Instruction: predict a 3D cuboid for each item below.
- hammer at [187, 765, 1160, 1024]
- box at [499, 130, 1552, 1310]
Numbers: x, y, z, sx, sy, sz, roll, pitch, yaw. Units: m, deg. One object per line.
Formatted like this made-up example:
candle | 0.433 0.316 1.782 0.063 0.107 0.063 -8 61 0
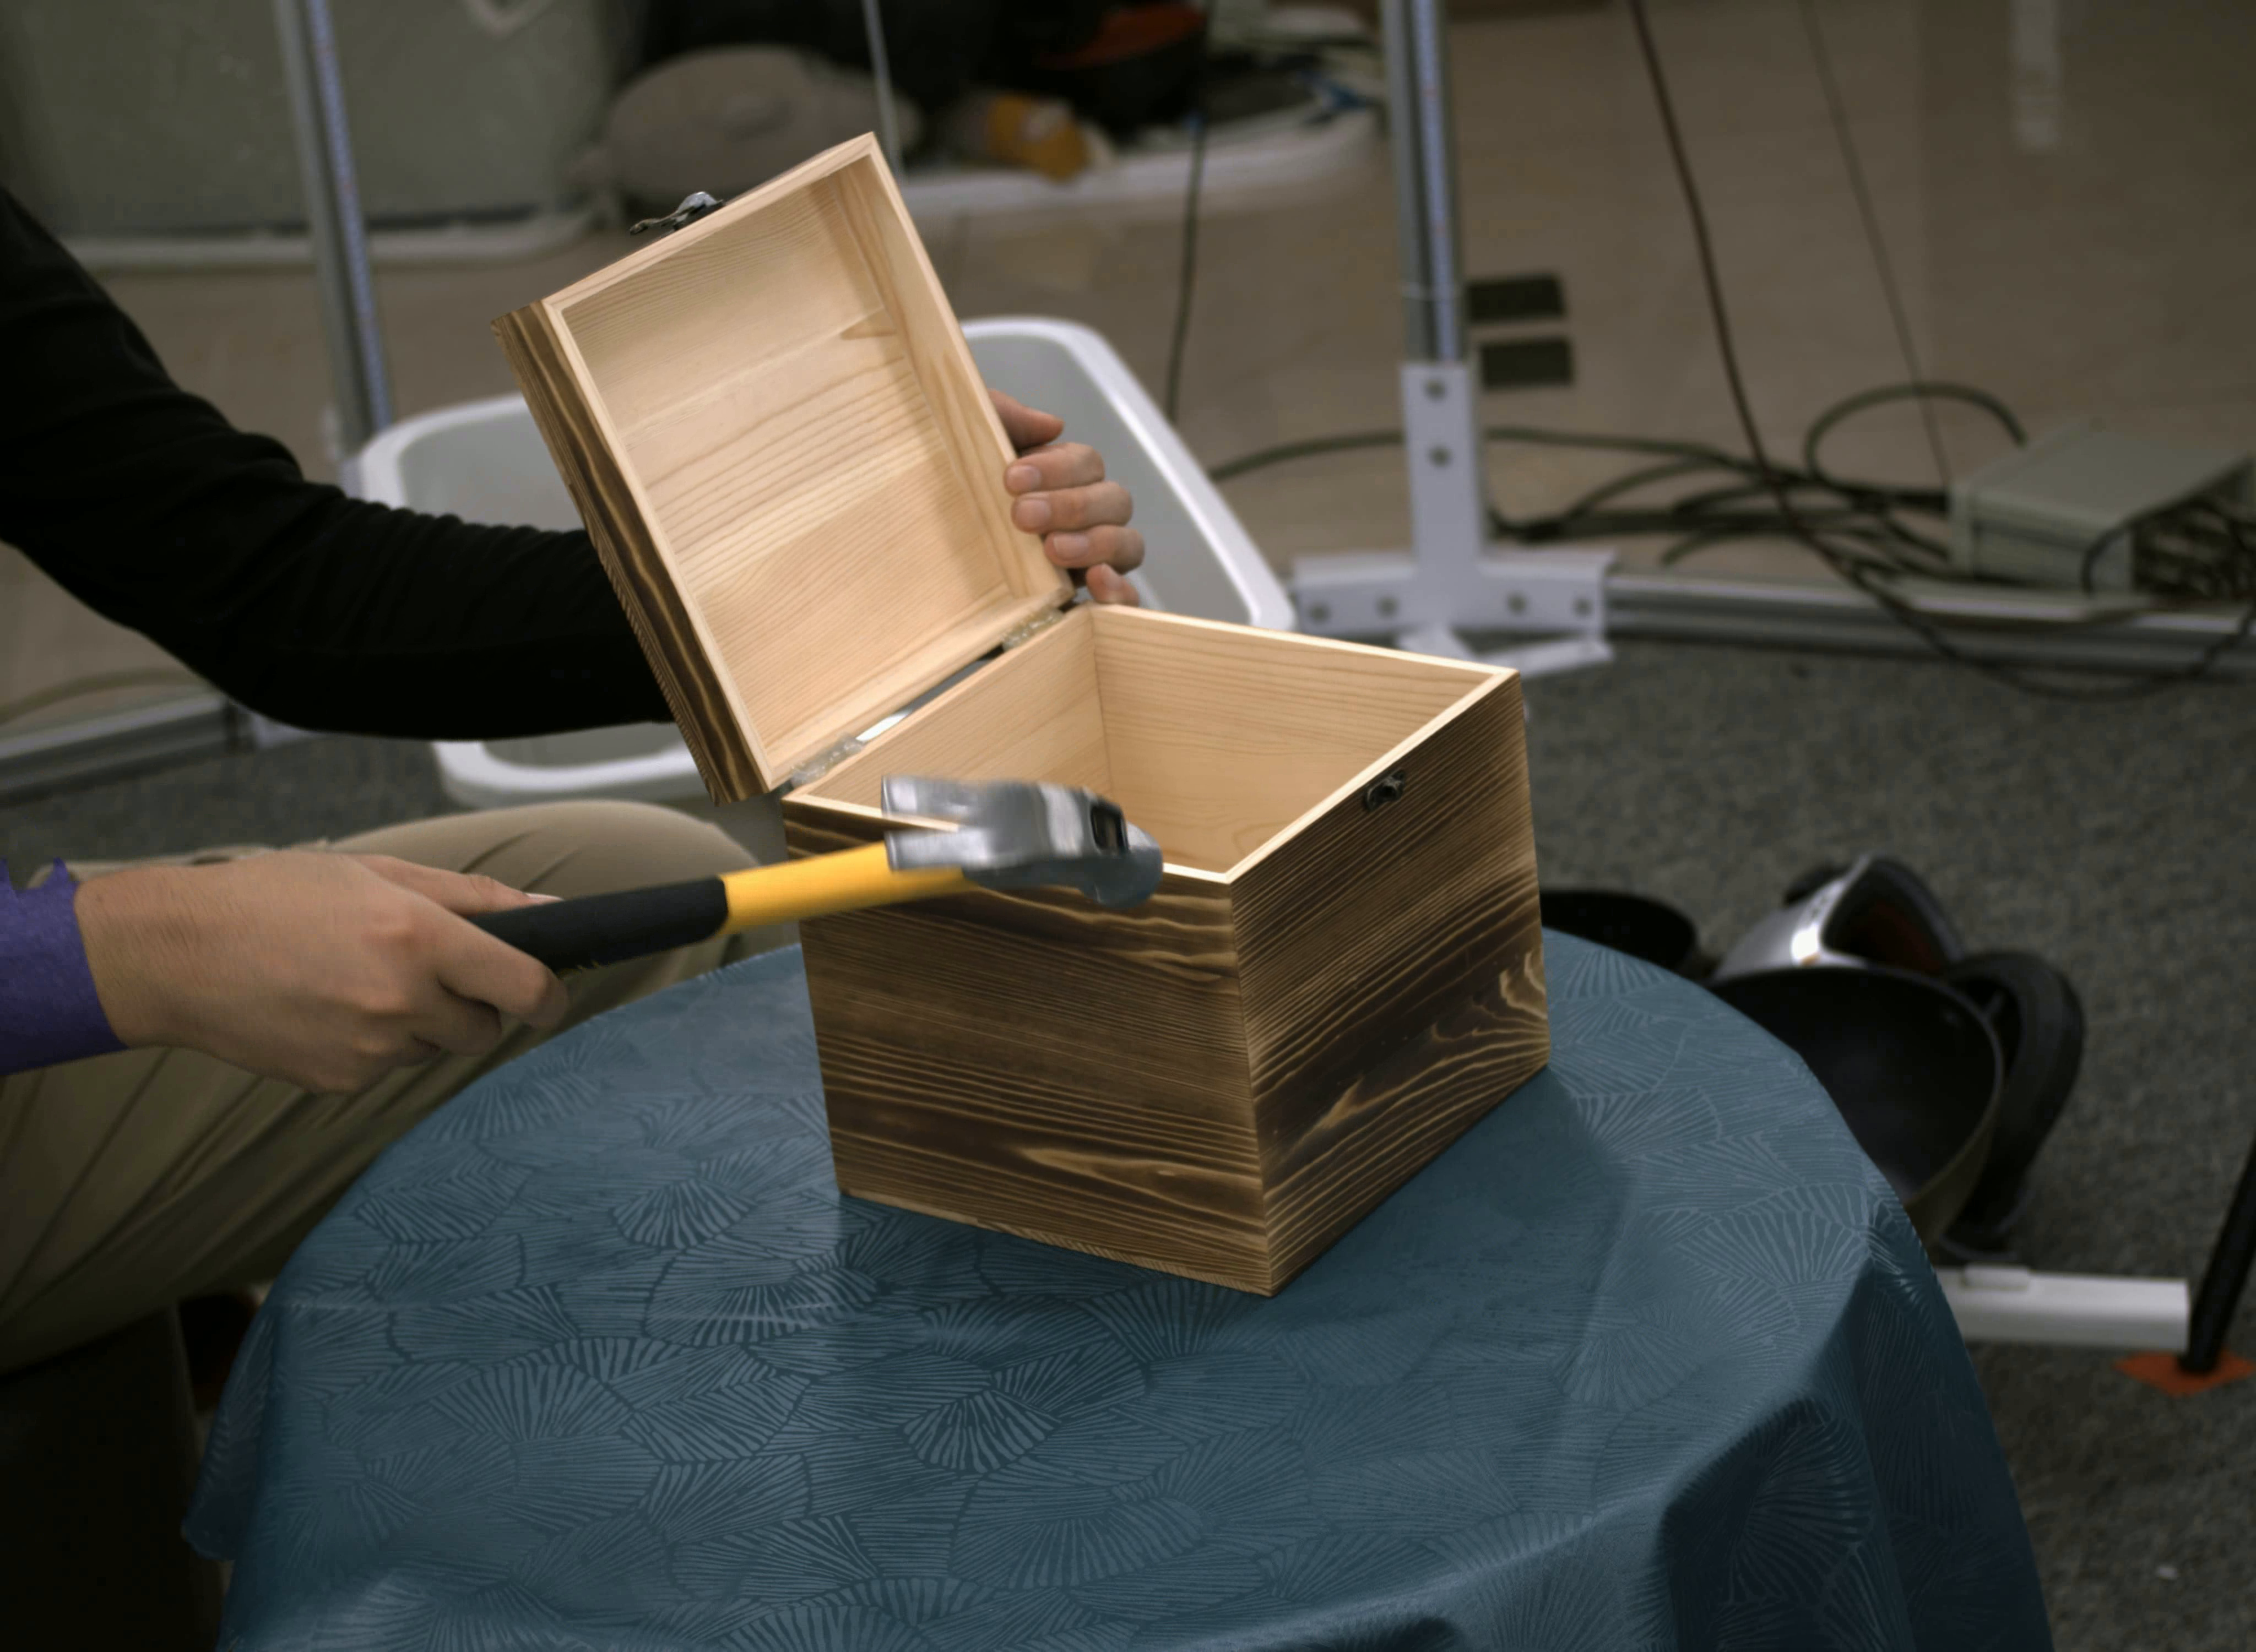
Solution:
hammer | -0.167 0.027 1.947 0.338 0.032 0.132 -10 -14 16
box | -0.035 -0.051 2.137 0.320 0.381 0.206 11 31 34
